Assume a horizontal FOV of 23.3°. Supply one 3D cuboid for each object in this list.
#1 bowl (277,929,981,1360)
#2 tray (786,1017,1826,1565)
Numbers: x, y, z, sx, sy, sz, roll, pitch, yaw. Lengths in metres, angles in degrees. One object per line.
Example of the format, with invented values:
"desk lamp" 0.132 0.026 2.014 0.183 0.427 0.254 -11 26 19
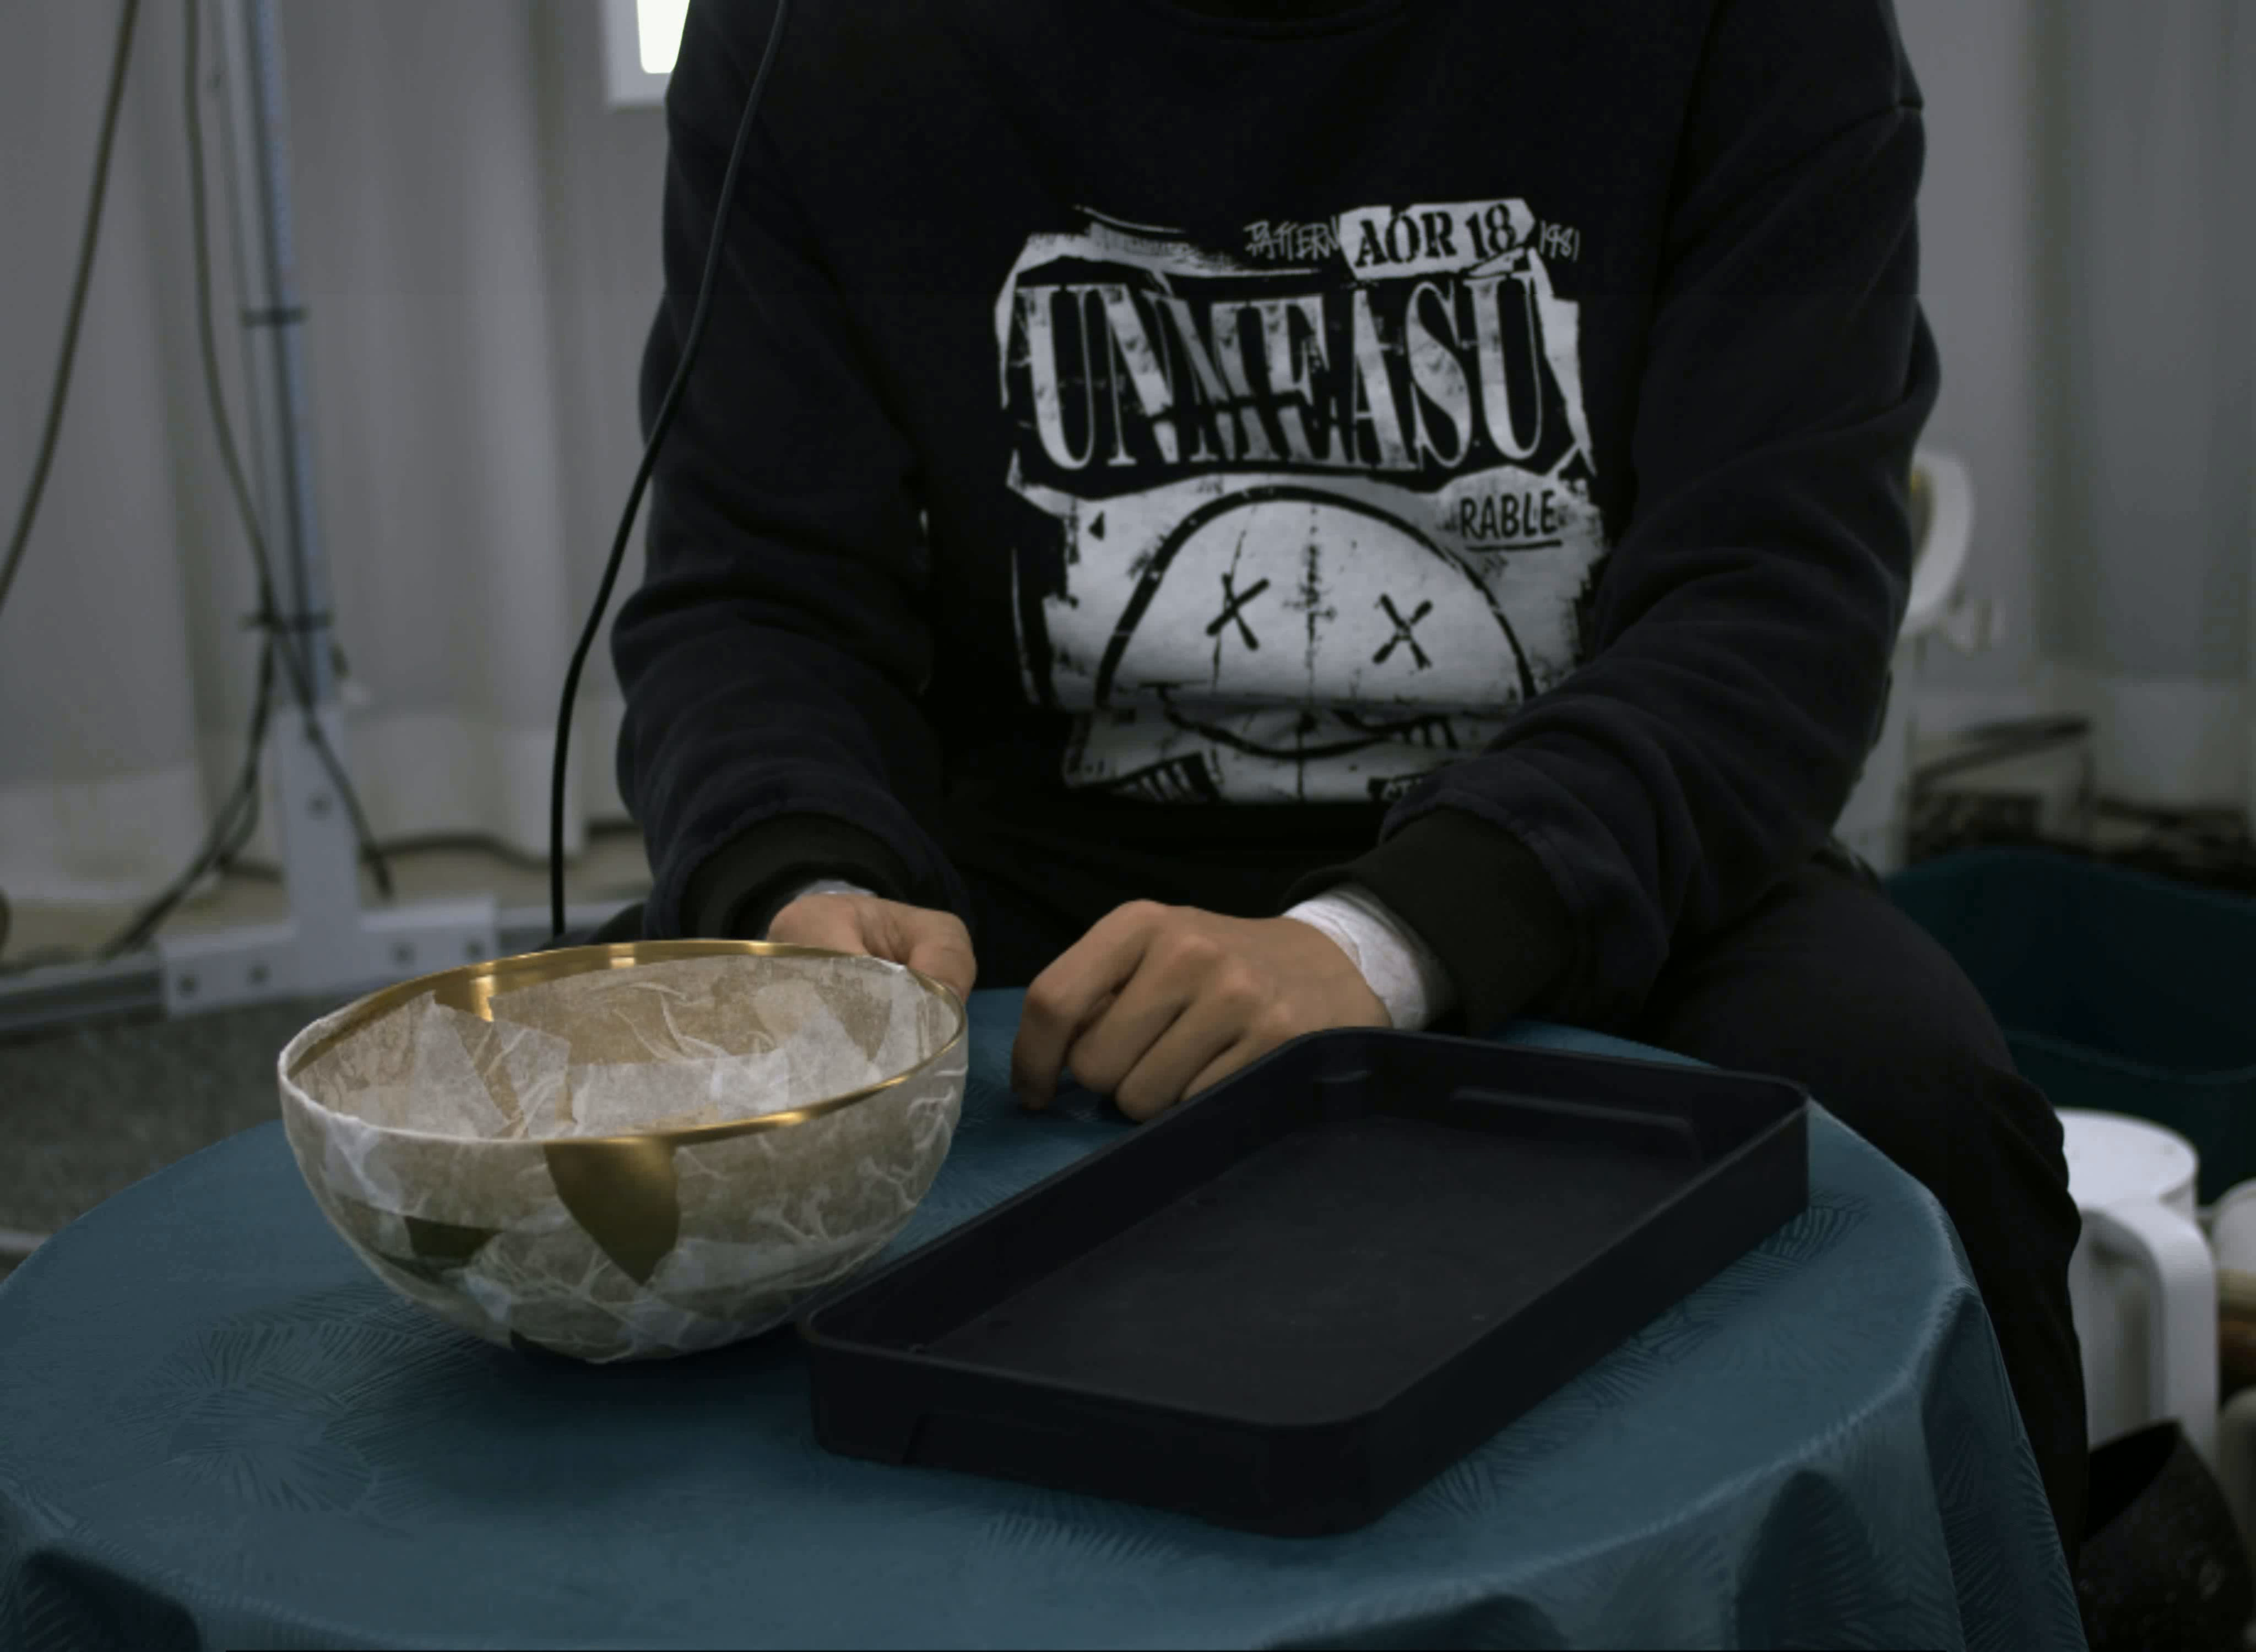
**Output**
"bowl" -0.140 0.102 1.607 0.214 0.094 0.216 -4 14 1
"tray" 0.059 0.128 1.593 0.185 0.037 0.318 8 20 32
